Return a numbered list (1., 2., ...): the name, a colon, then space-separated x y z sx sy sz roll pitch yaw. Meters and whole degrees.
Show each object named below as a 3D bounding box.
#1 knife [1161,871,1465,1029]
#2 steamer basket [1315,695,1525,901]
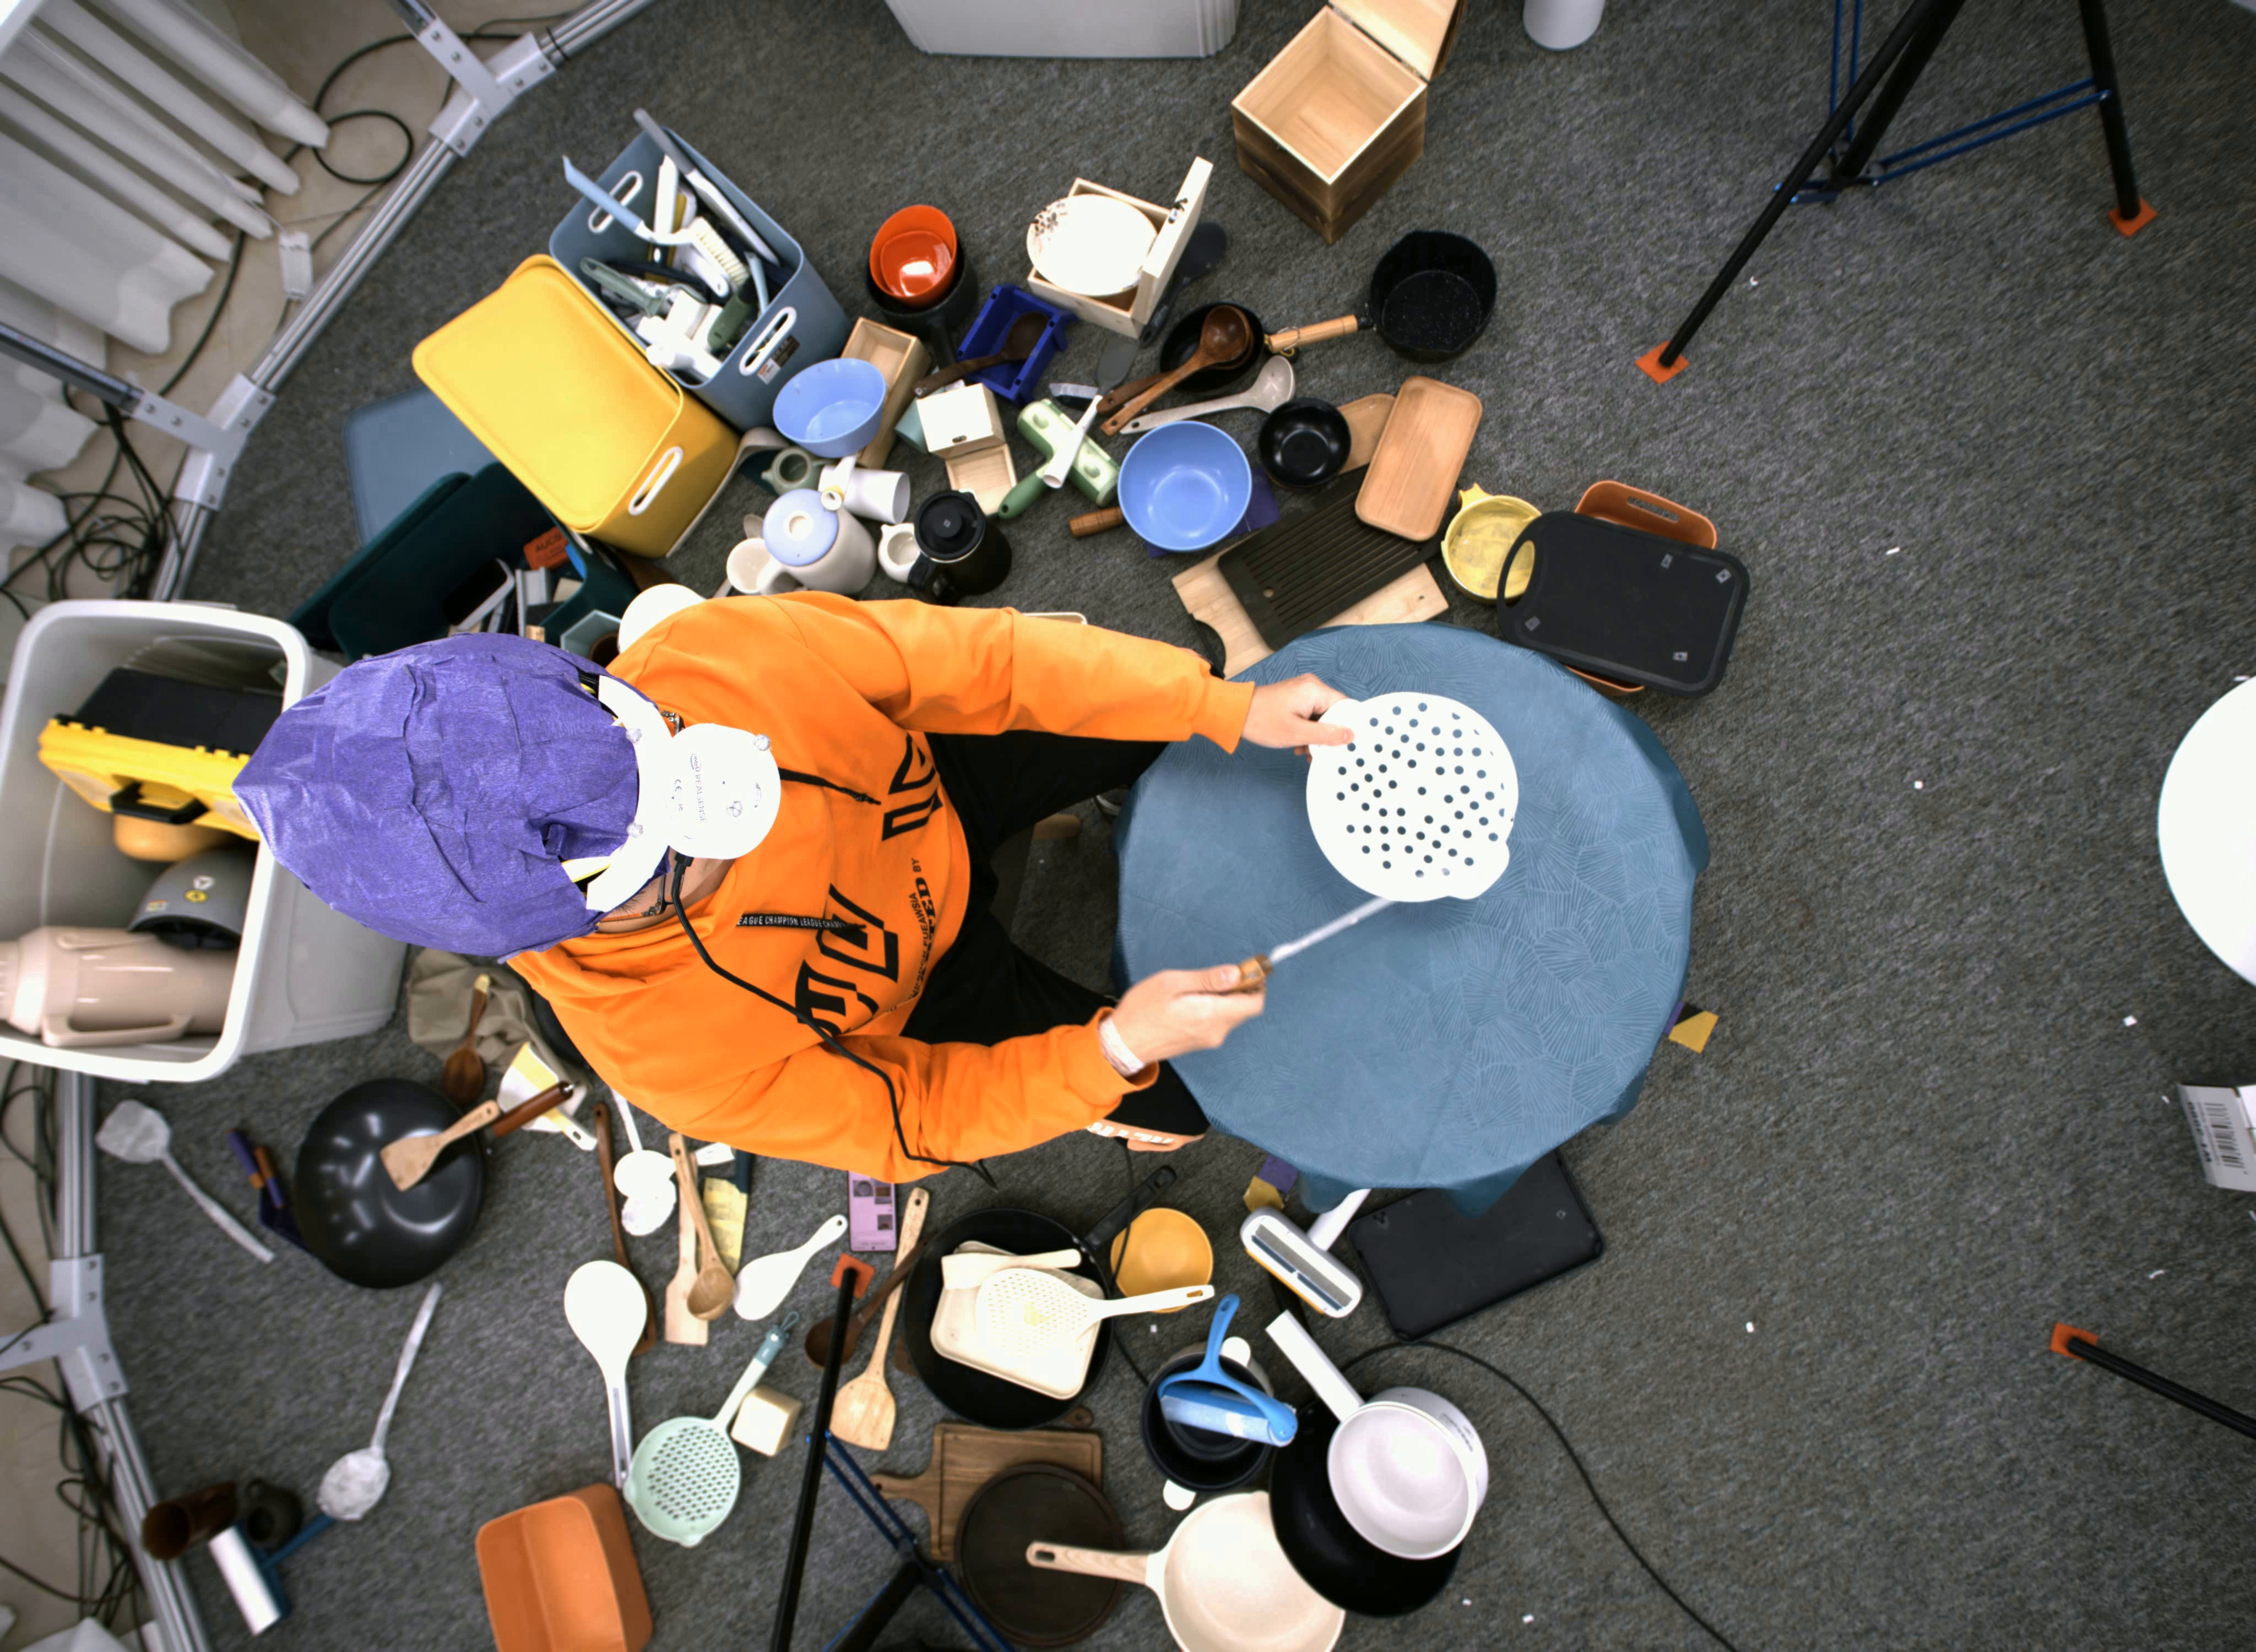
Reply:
1. knife: 0.163 0.108 1.233 0.311 0.091 0.021 -31 84 32
2. steamer basket: 0.289 -0.032 1.354 0.230 0.068 0.206 43 115 8
